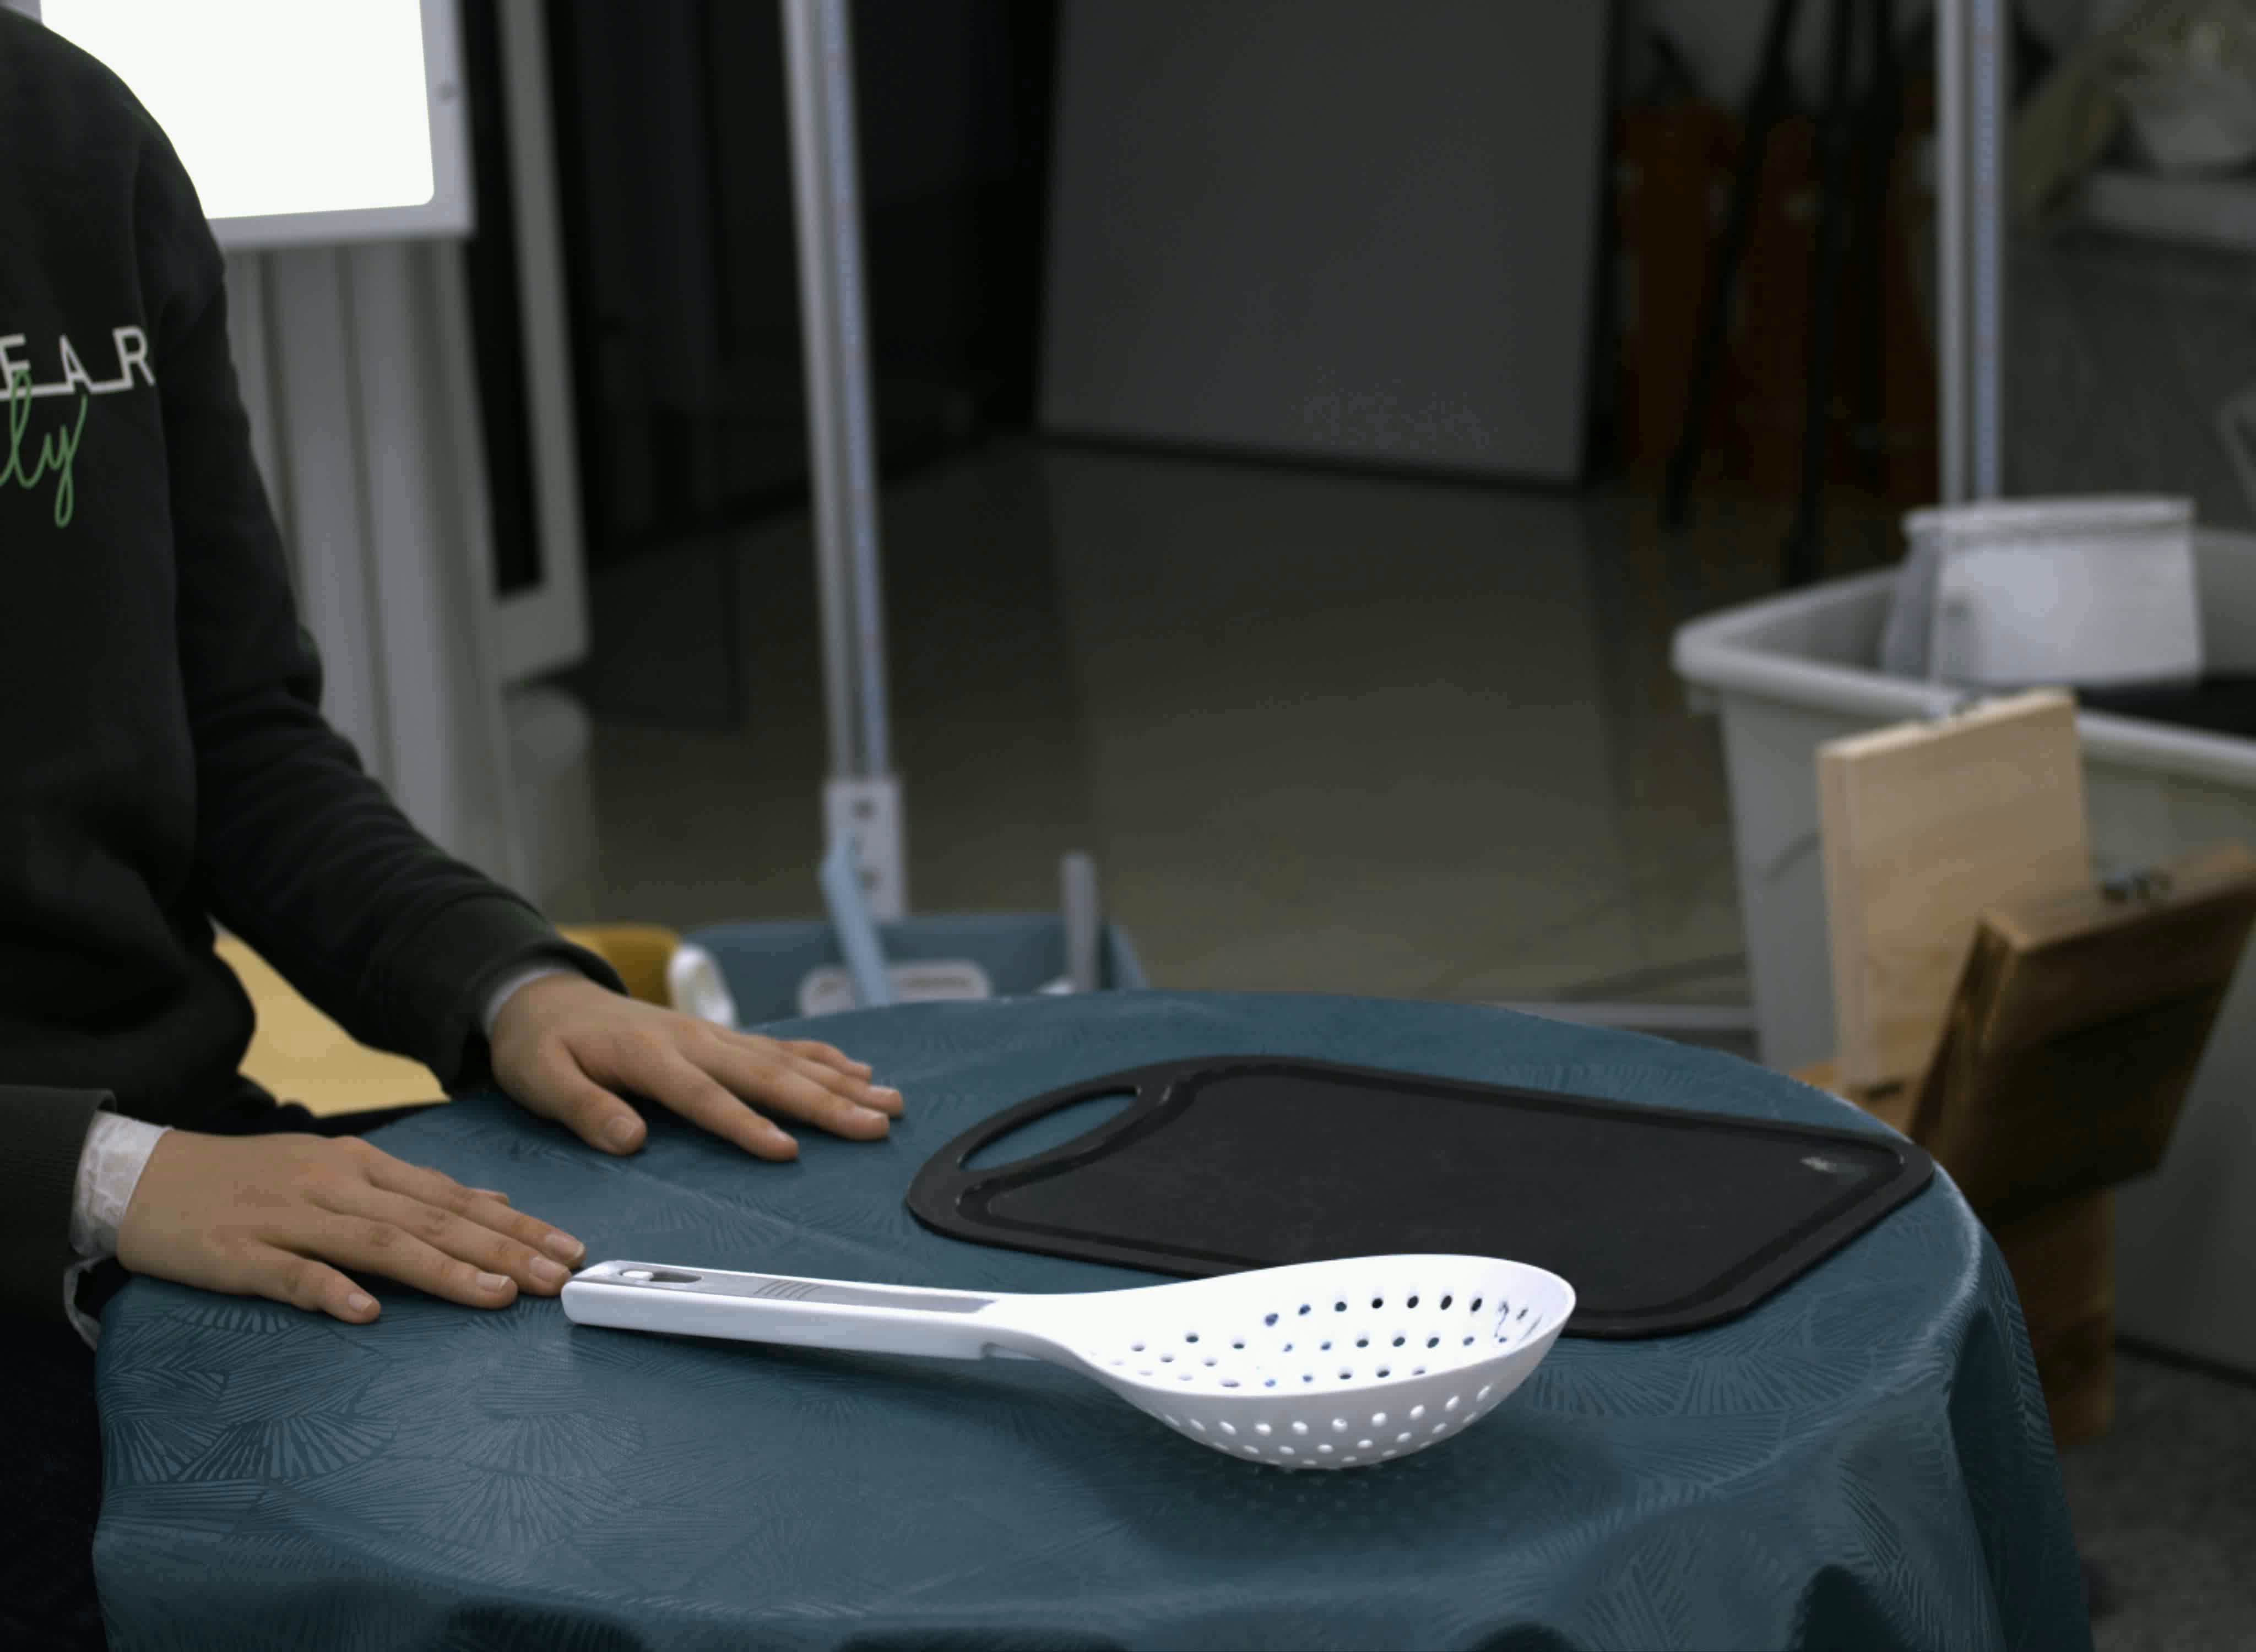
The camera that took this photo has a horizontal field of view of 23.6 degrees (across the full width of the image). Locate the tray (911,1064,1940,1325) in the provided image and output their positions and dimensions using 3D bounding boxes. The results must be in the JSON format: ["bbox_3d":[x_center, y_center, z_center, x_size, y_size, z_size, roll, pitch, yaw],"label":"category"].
[{"bbox_3d":[0.088,0.115,1.754,0.327,0.010,0.207,5,16,35],"label":"tray"}]

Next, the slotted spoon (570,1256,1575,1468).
[{"bbox_3d":[-0.027,0.147,1.580,0.352,0.046,0.133,5,14,36],"label":"slotted spoon"}]
